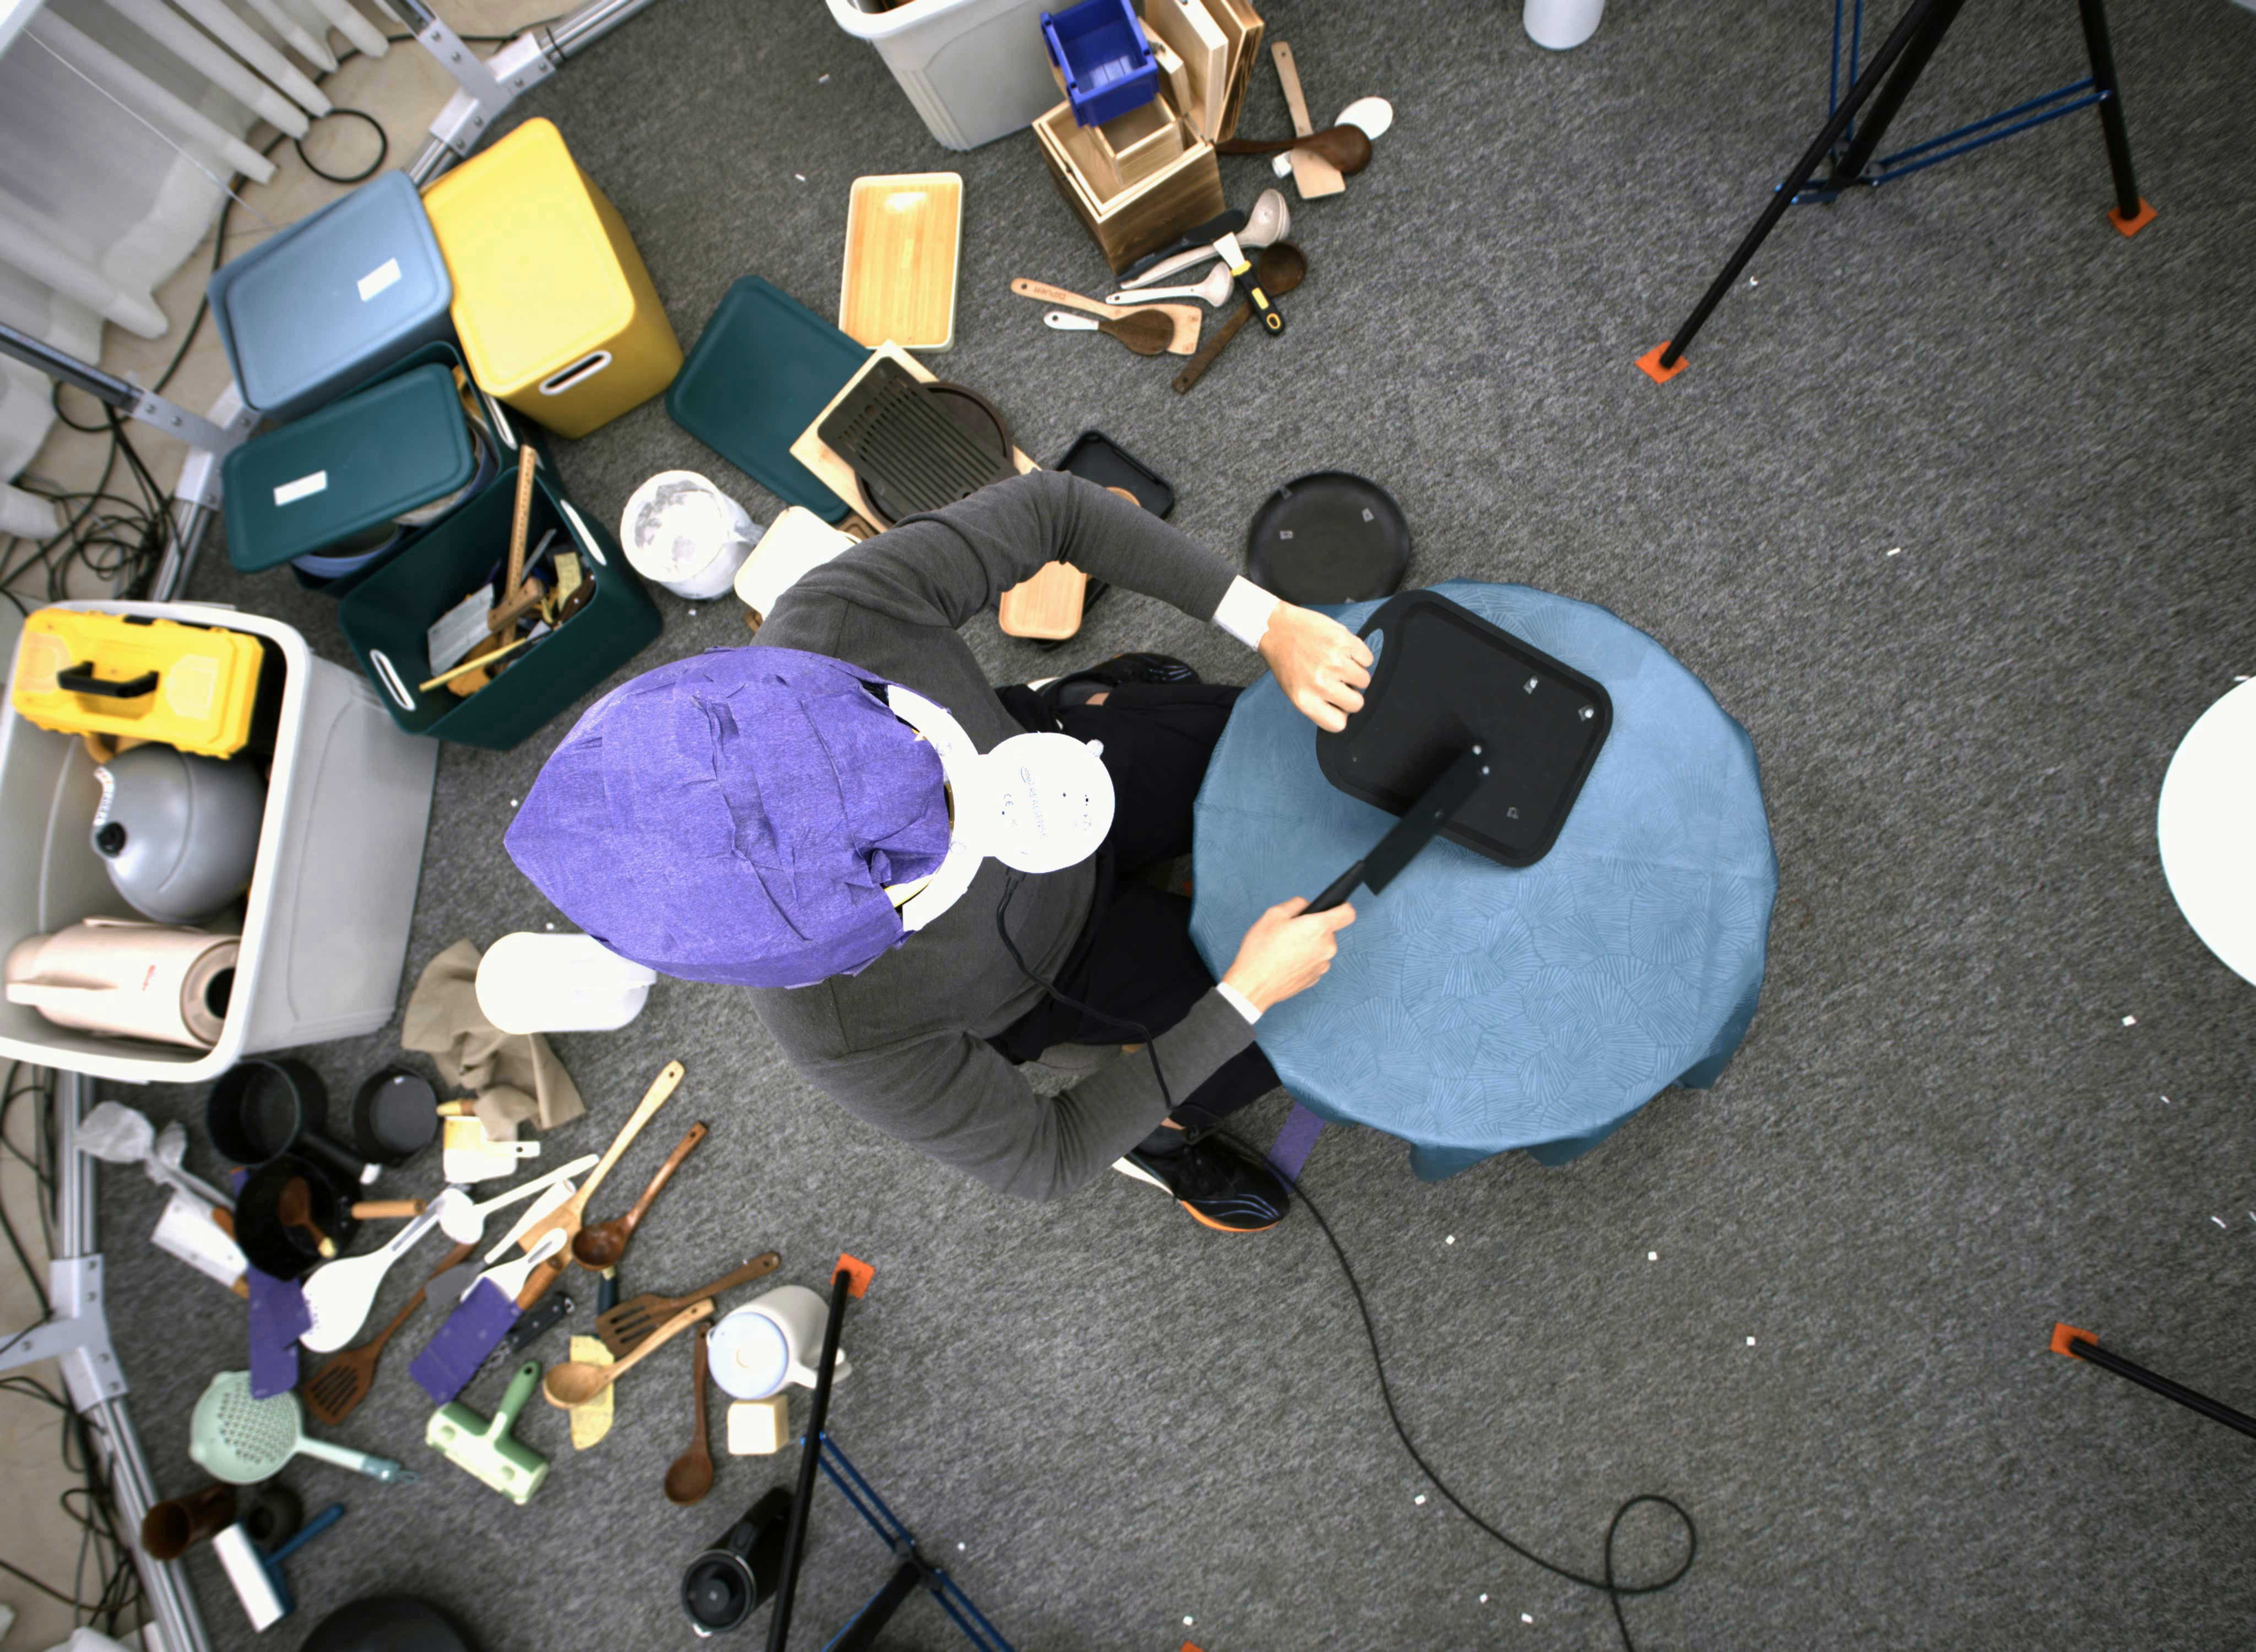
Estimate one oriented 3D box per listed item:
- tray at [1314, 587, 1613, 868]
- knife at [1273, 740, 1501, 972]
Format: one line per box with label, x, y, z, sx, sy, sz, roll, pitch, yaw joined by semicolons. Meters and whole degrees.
tray;0.332;-0.096;1.353;0.326;0.009;0.213;22;100;-24
knife;0.255;0.032;1.356;0.302;0.082;0.020;-43;48;-1
